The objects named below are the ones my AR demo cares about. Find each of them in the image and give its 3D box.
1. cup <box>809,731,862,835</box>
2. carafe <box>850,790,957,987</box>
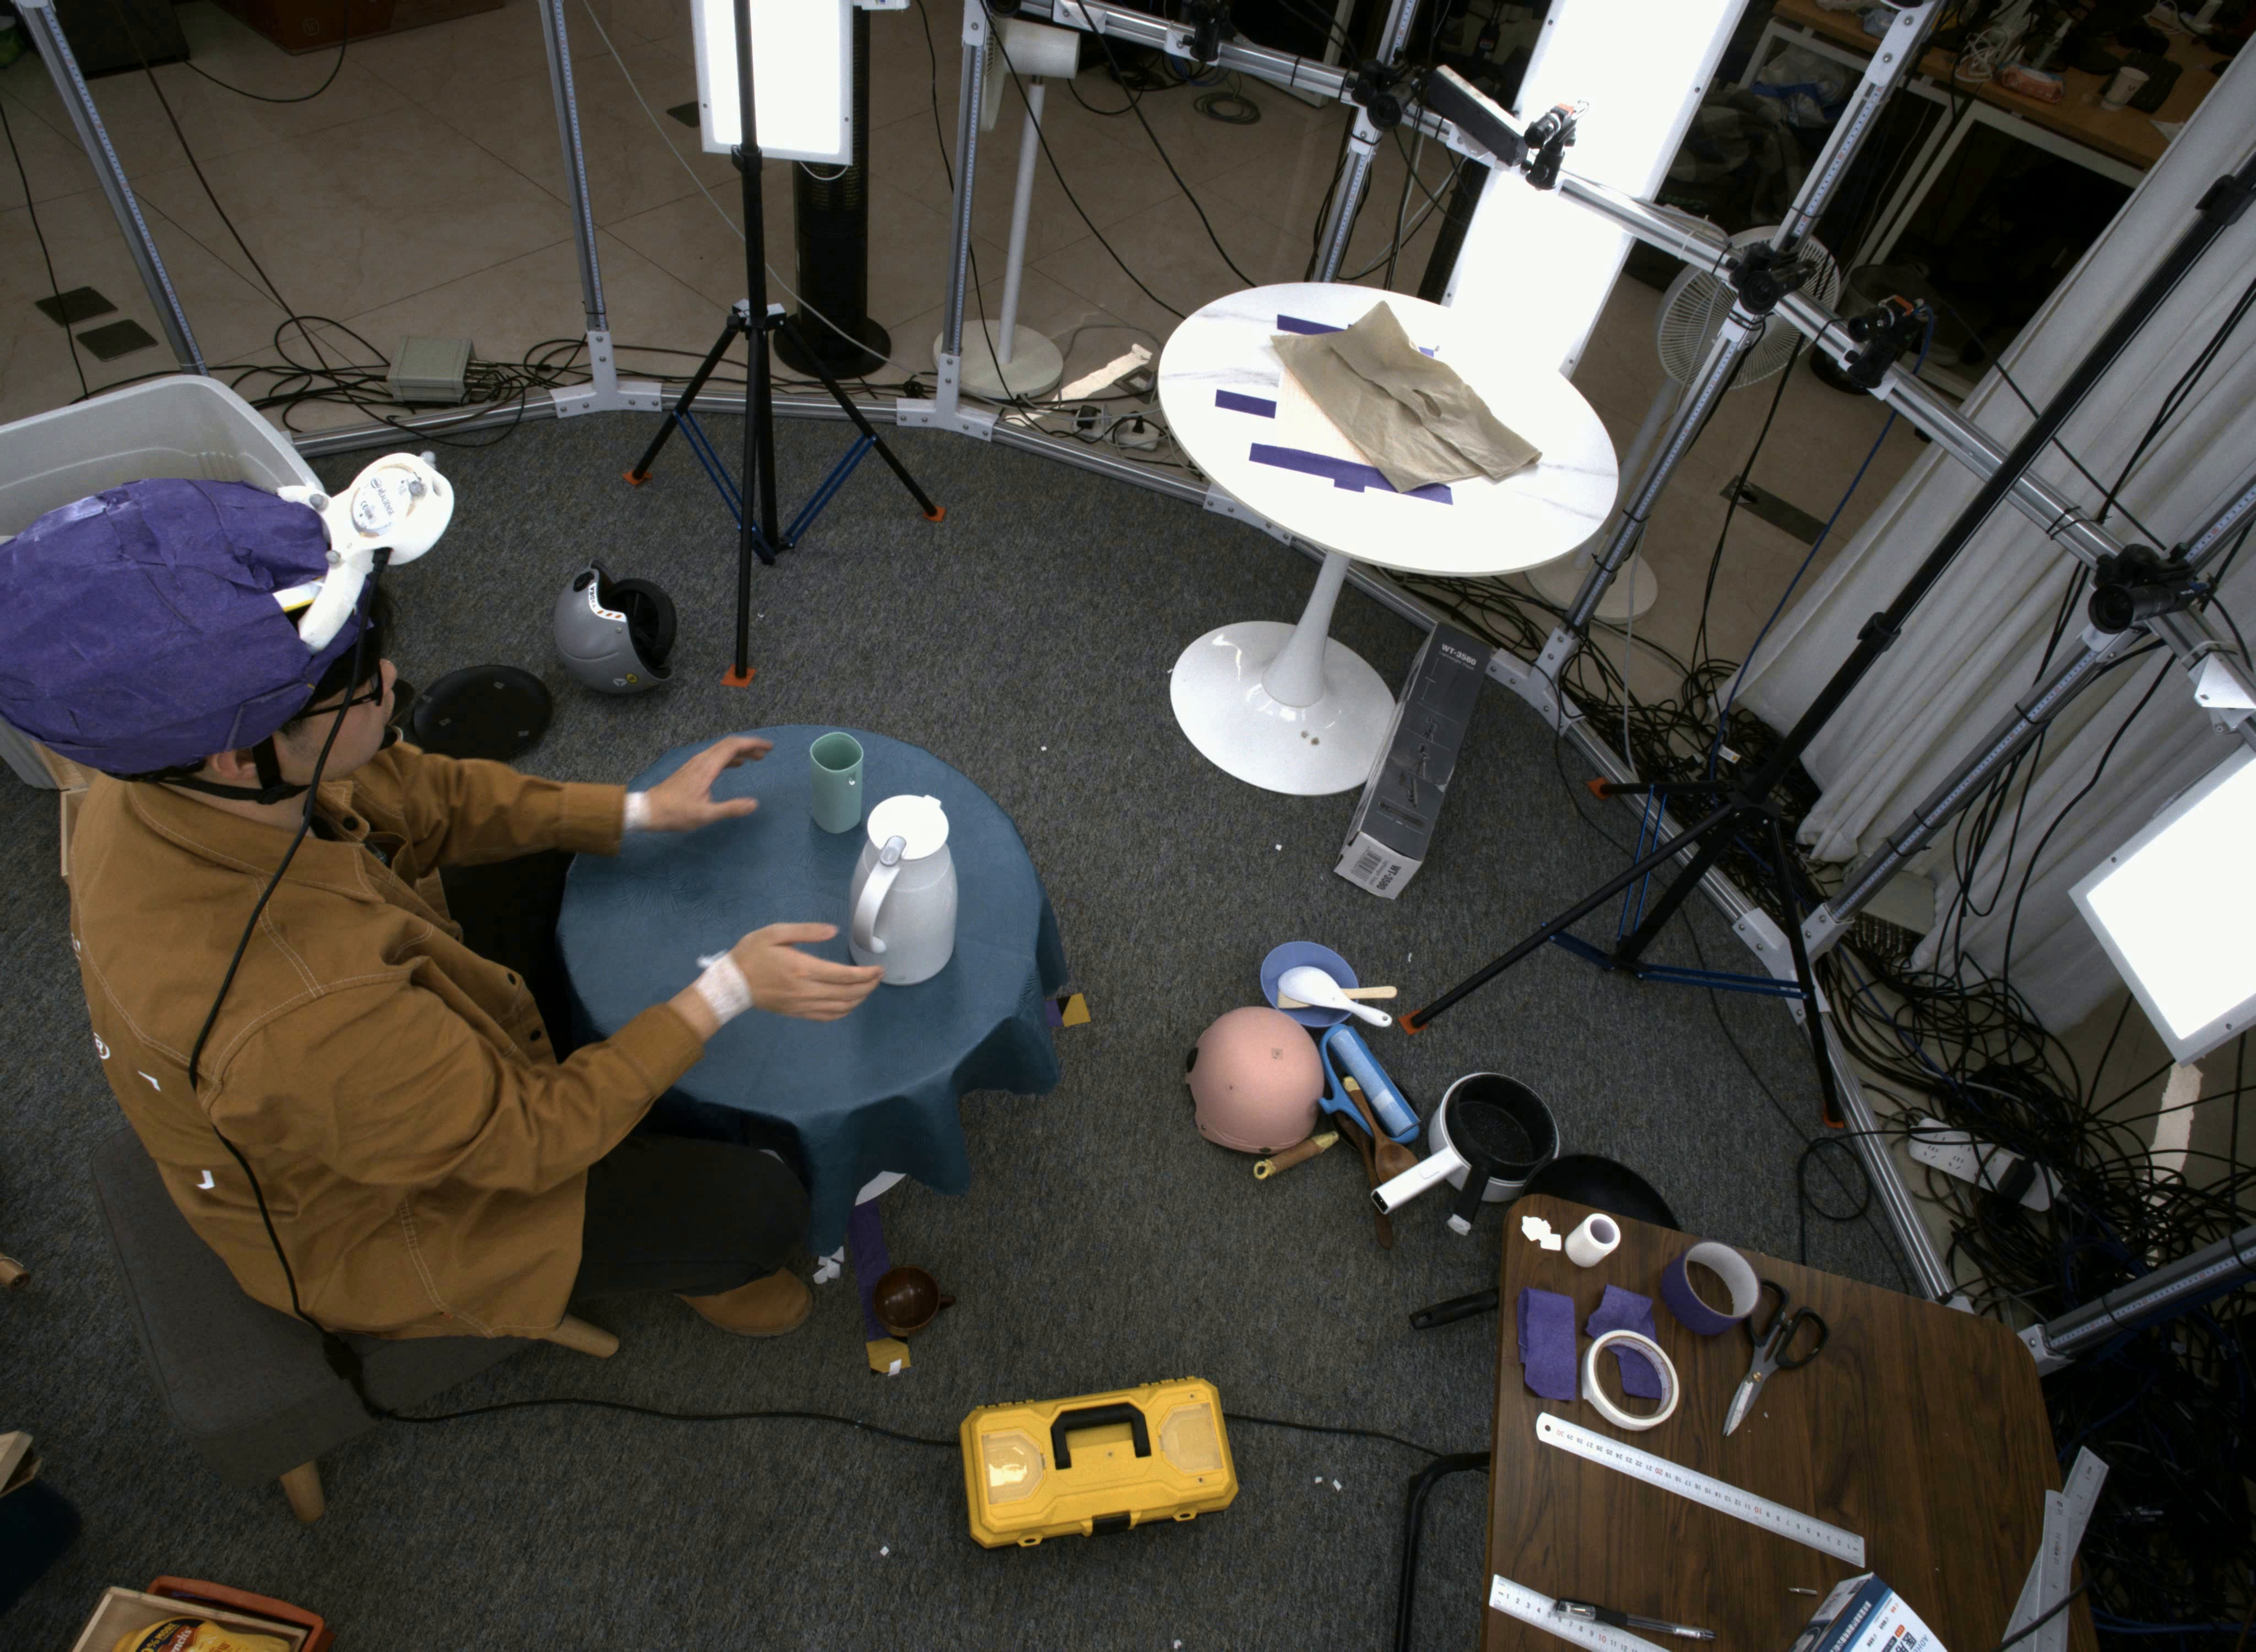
[{"bbox_3d":[-0.382,-0.055,1.693,0.066,0.135,0.065,6,51,-6],"label":"cup"},{"bbox_3d":[-0.273,0.081,1.540,0.131,0.254,0.166,22,52,6],"label":"carafe"}]
